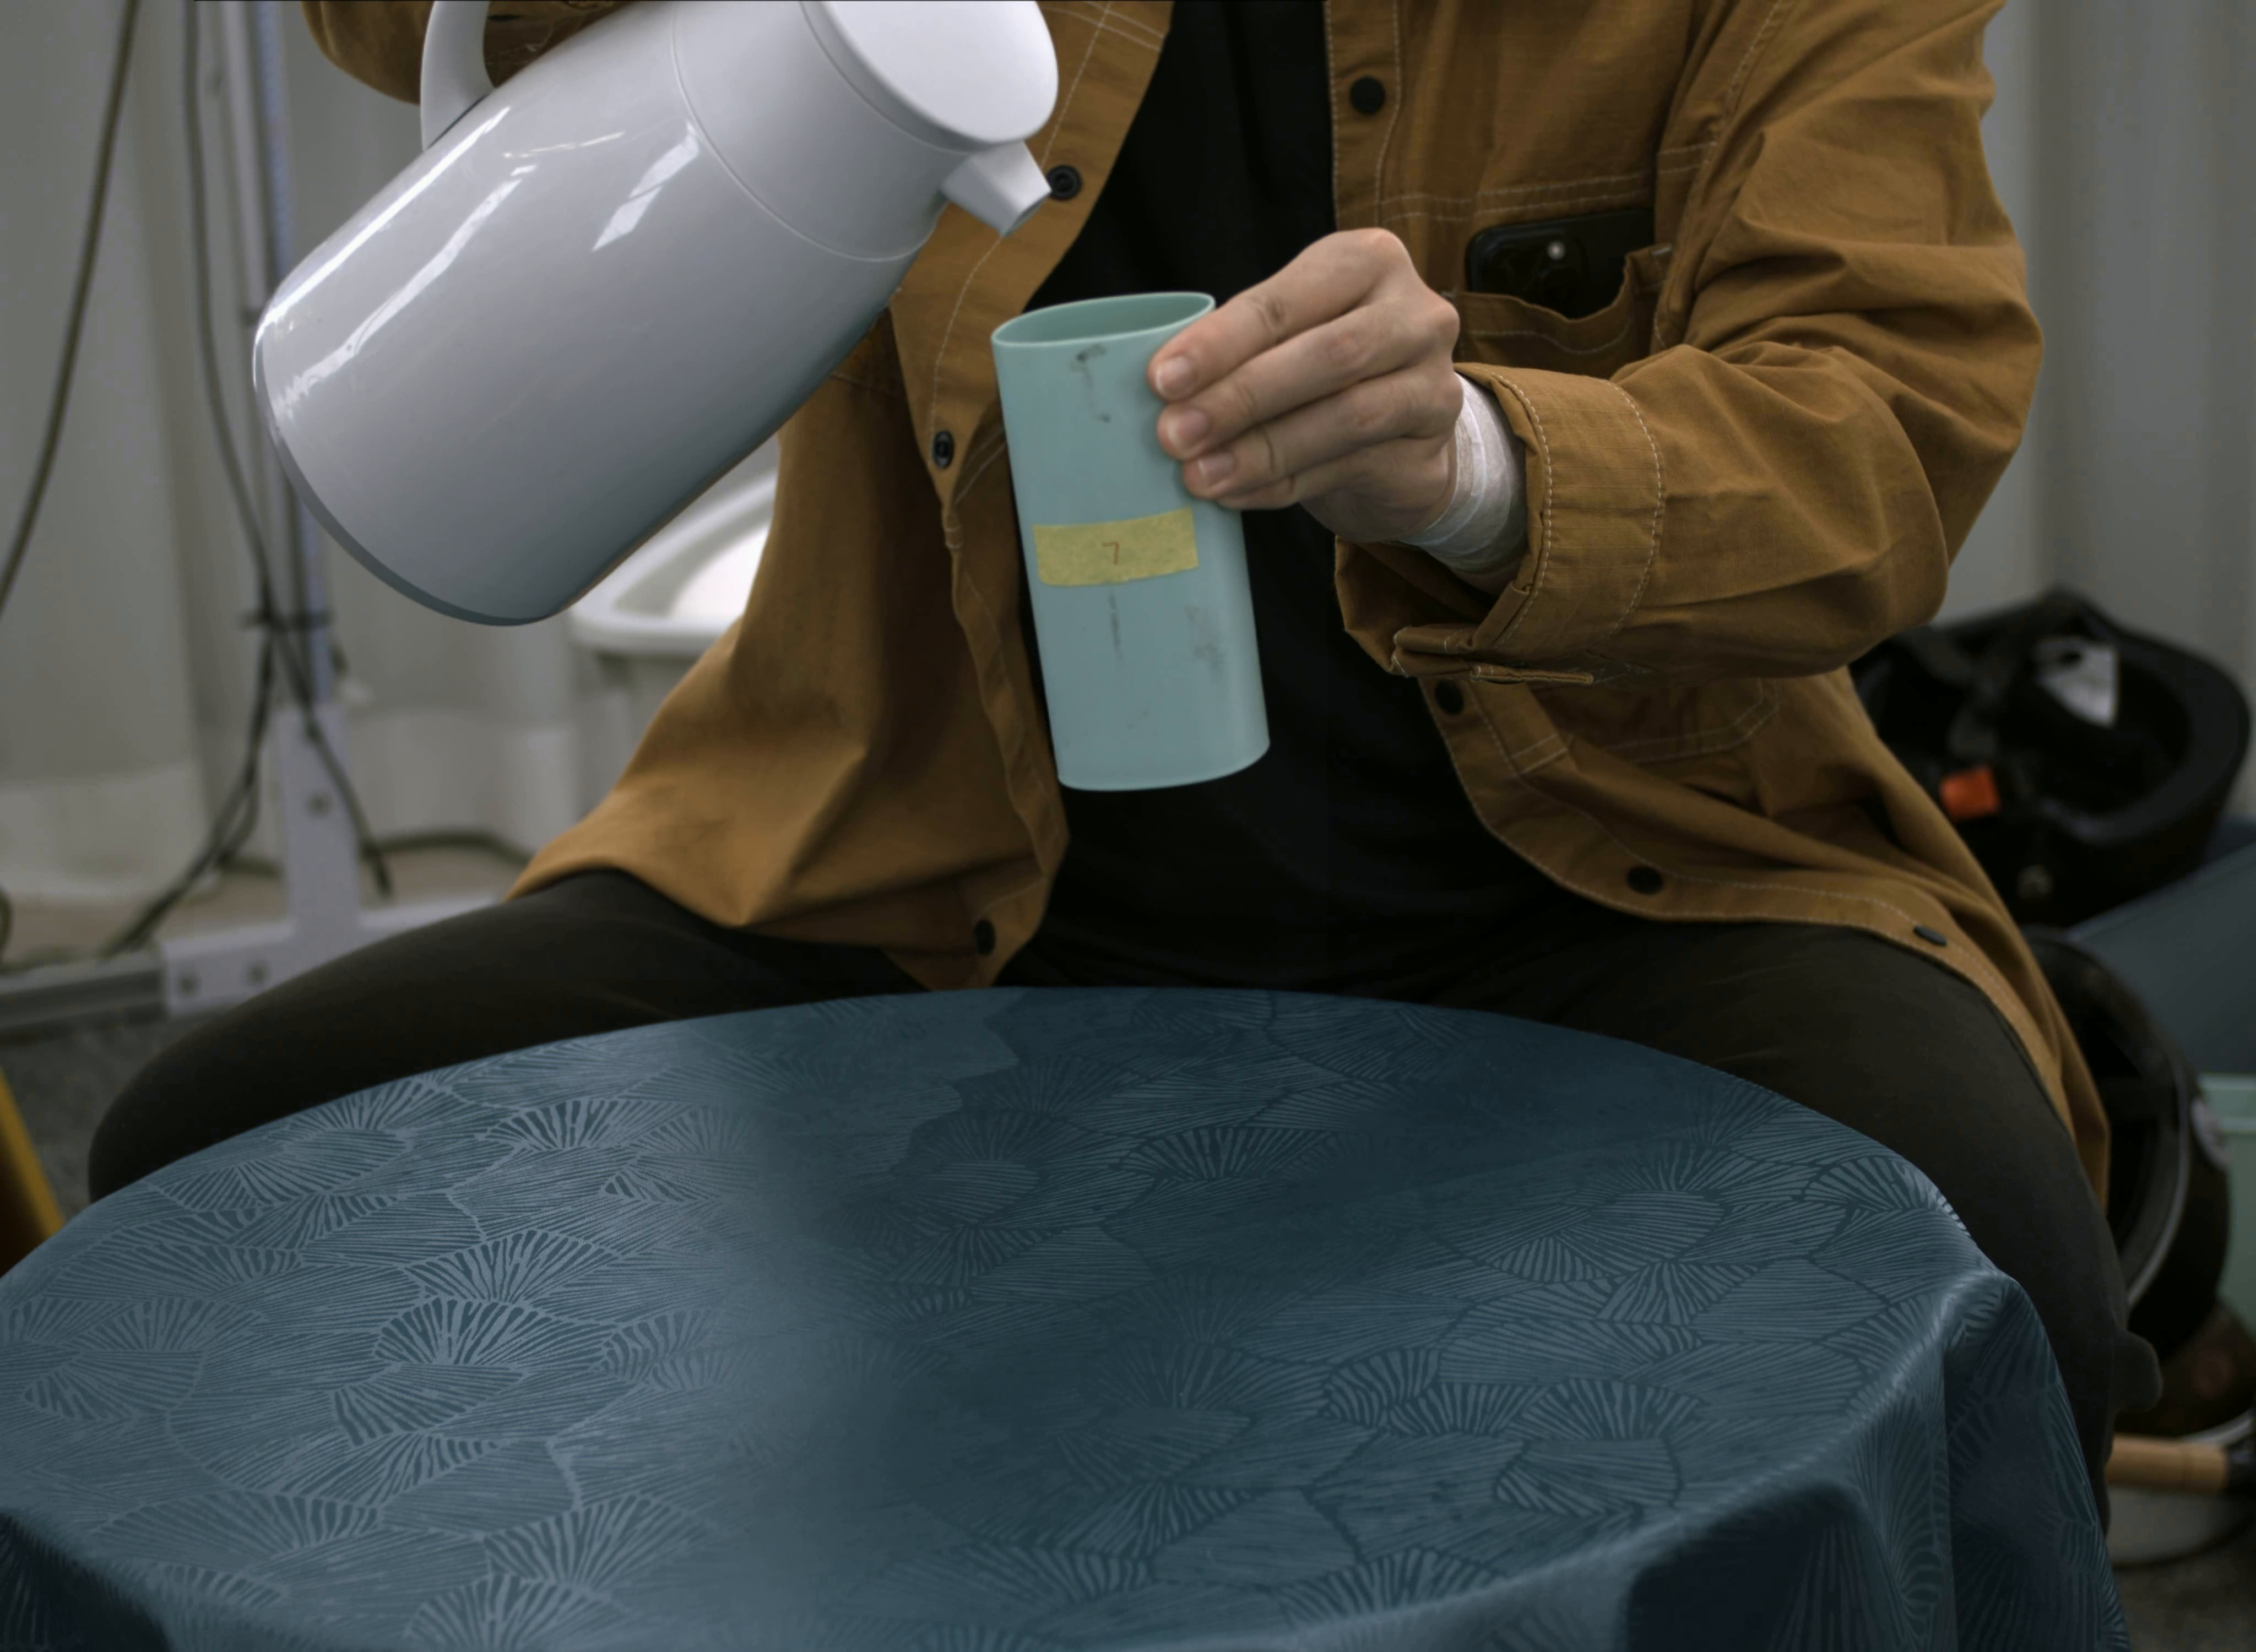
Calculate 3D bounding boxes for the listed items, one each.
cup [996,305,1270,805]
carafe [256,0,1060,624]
[{"bbox_3d":[0.003,-0.078,1.558,0.066,0.132,0.067,-7,14,2],"label":"cup"},{"bbox_3d":[-0.142,-0.190,1.597,0.247,0.167,0.133,-36,4,36],"label":"carafe"}]
